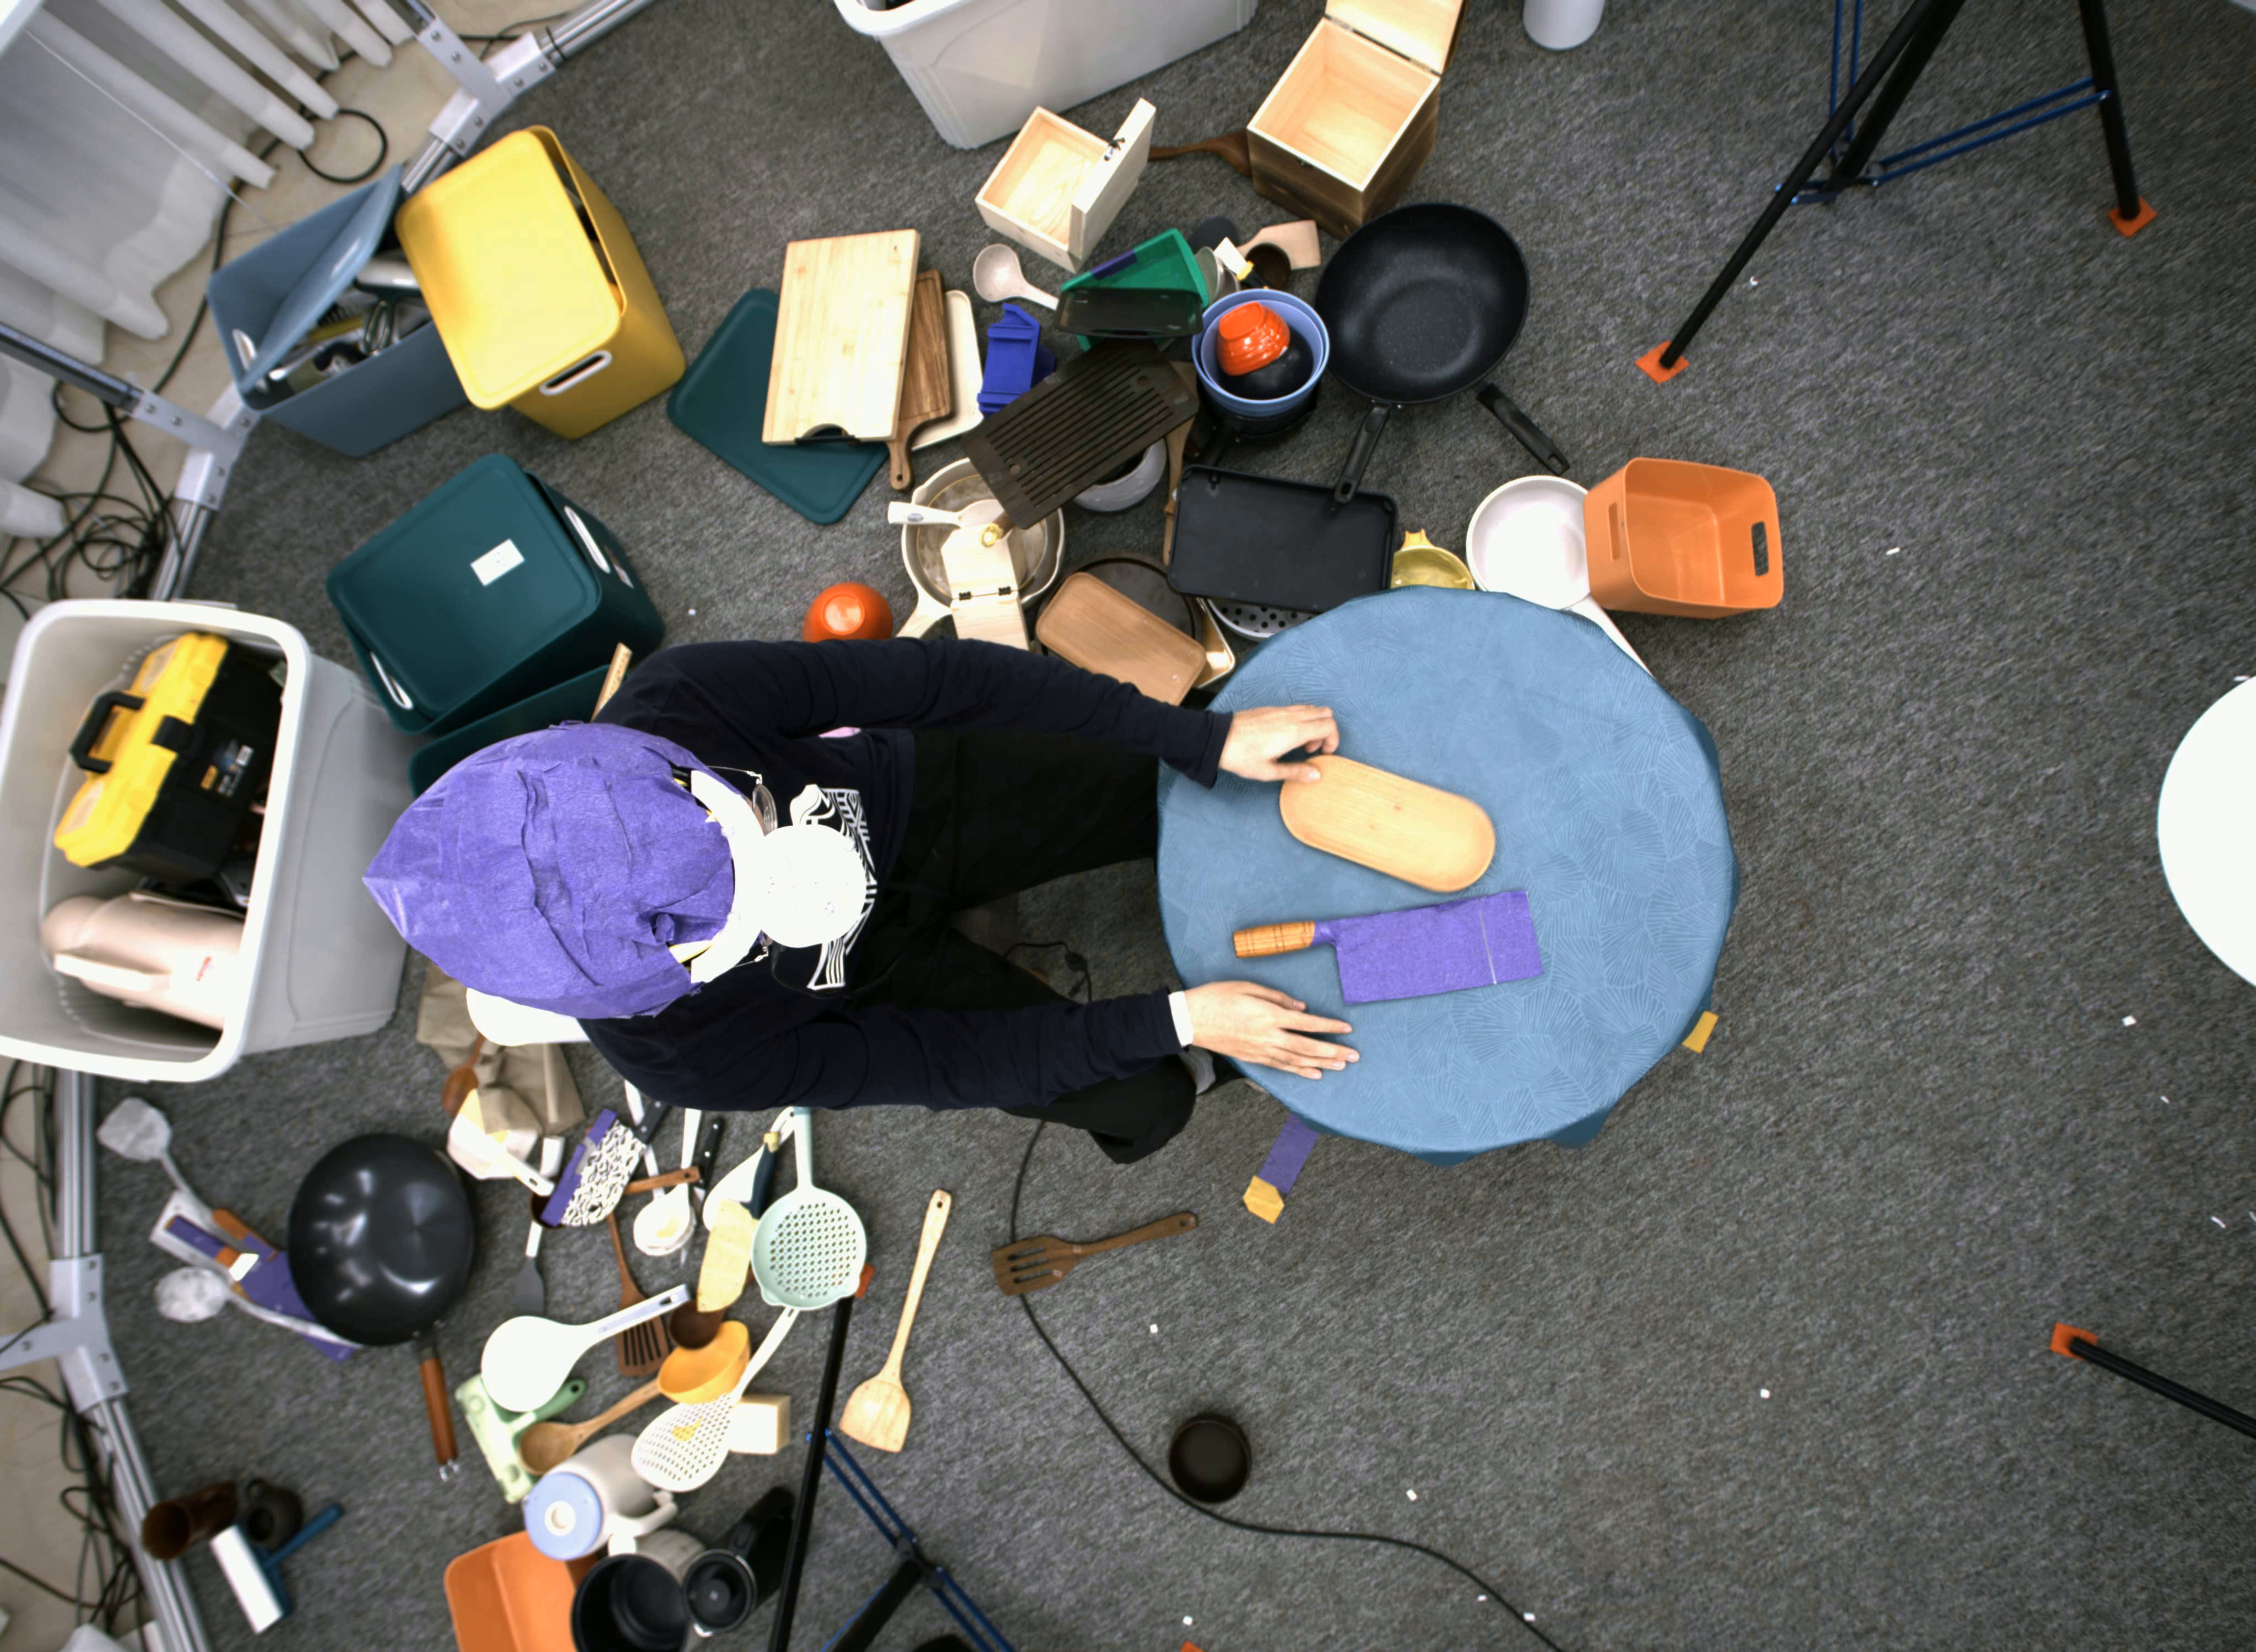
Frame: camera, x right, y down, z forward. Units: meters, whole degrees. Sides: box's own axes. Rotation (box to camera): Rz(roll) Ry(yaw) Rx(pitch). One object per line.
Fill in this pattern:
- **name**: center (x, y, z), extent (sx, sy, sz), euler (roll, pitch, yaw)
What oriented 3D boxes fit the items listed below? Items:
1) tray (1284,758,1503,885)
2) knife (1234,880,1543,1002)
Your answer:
- **tray**: center (0.279, -0.006, 1.454), extent (0.231, 0.020, 0.102), euler (15, 92, 10)
- **knife**: center (0.271, 0.131, 1.443), extent (0.317, 0.032, 0.103), euler (-11, 84, 10)
